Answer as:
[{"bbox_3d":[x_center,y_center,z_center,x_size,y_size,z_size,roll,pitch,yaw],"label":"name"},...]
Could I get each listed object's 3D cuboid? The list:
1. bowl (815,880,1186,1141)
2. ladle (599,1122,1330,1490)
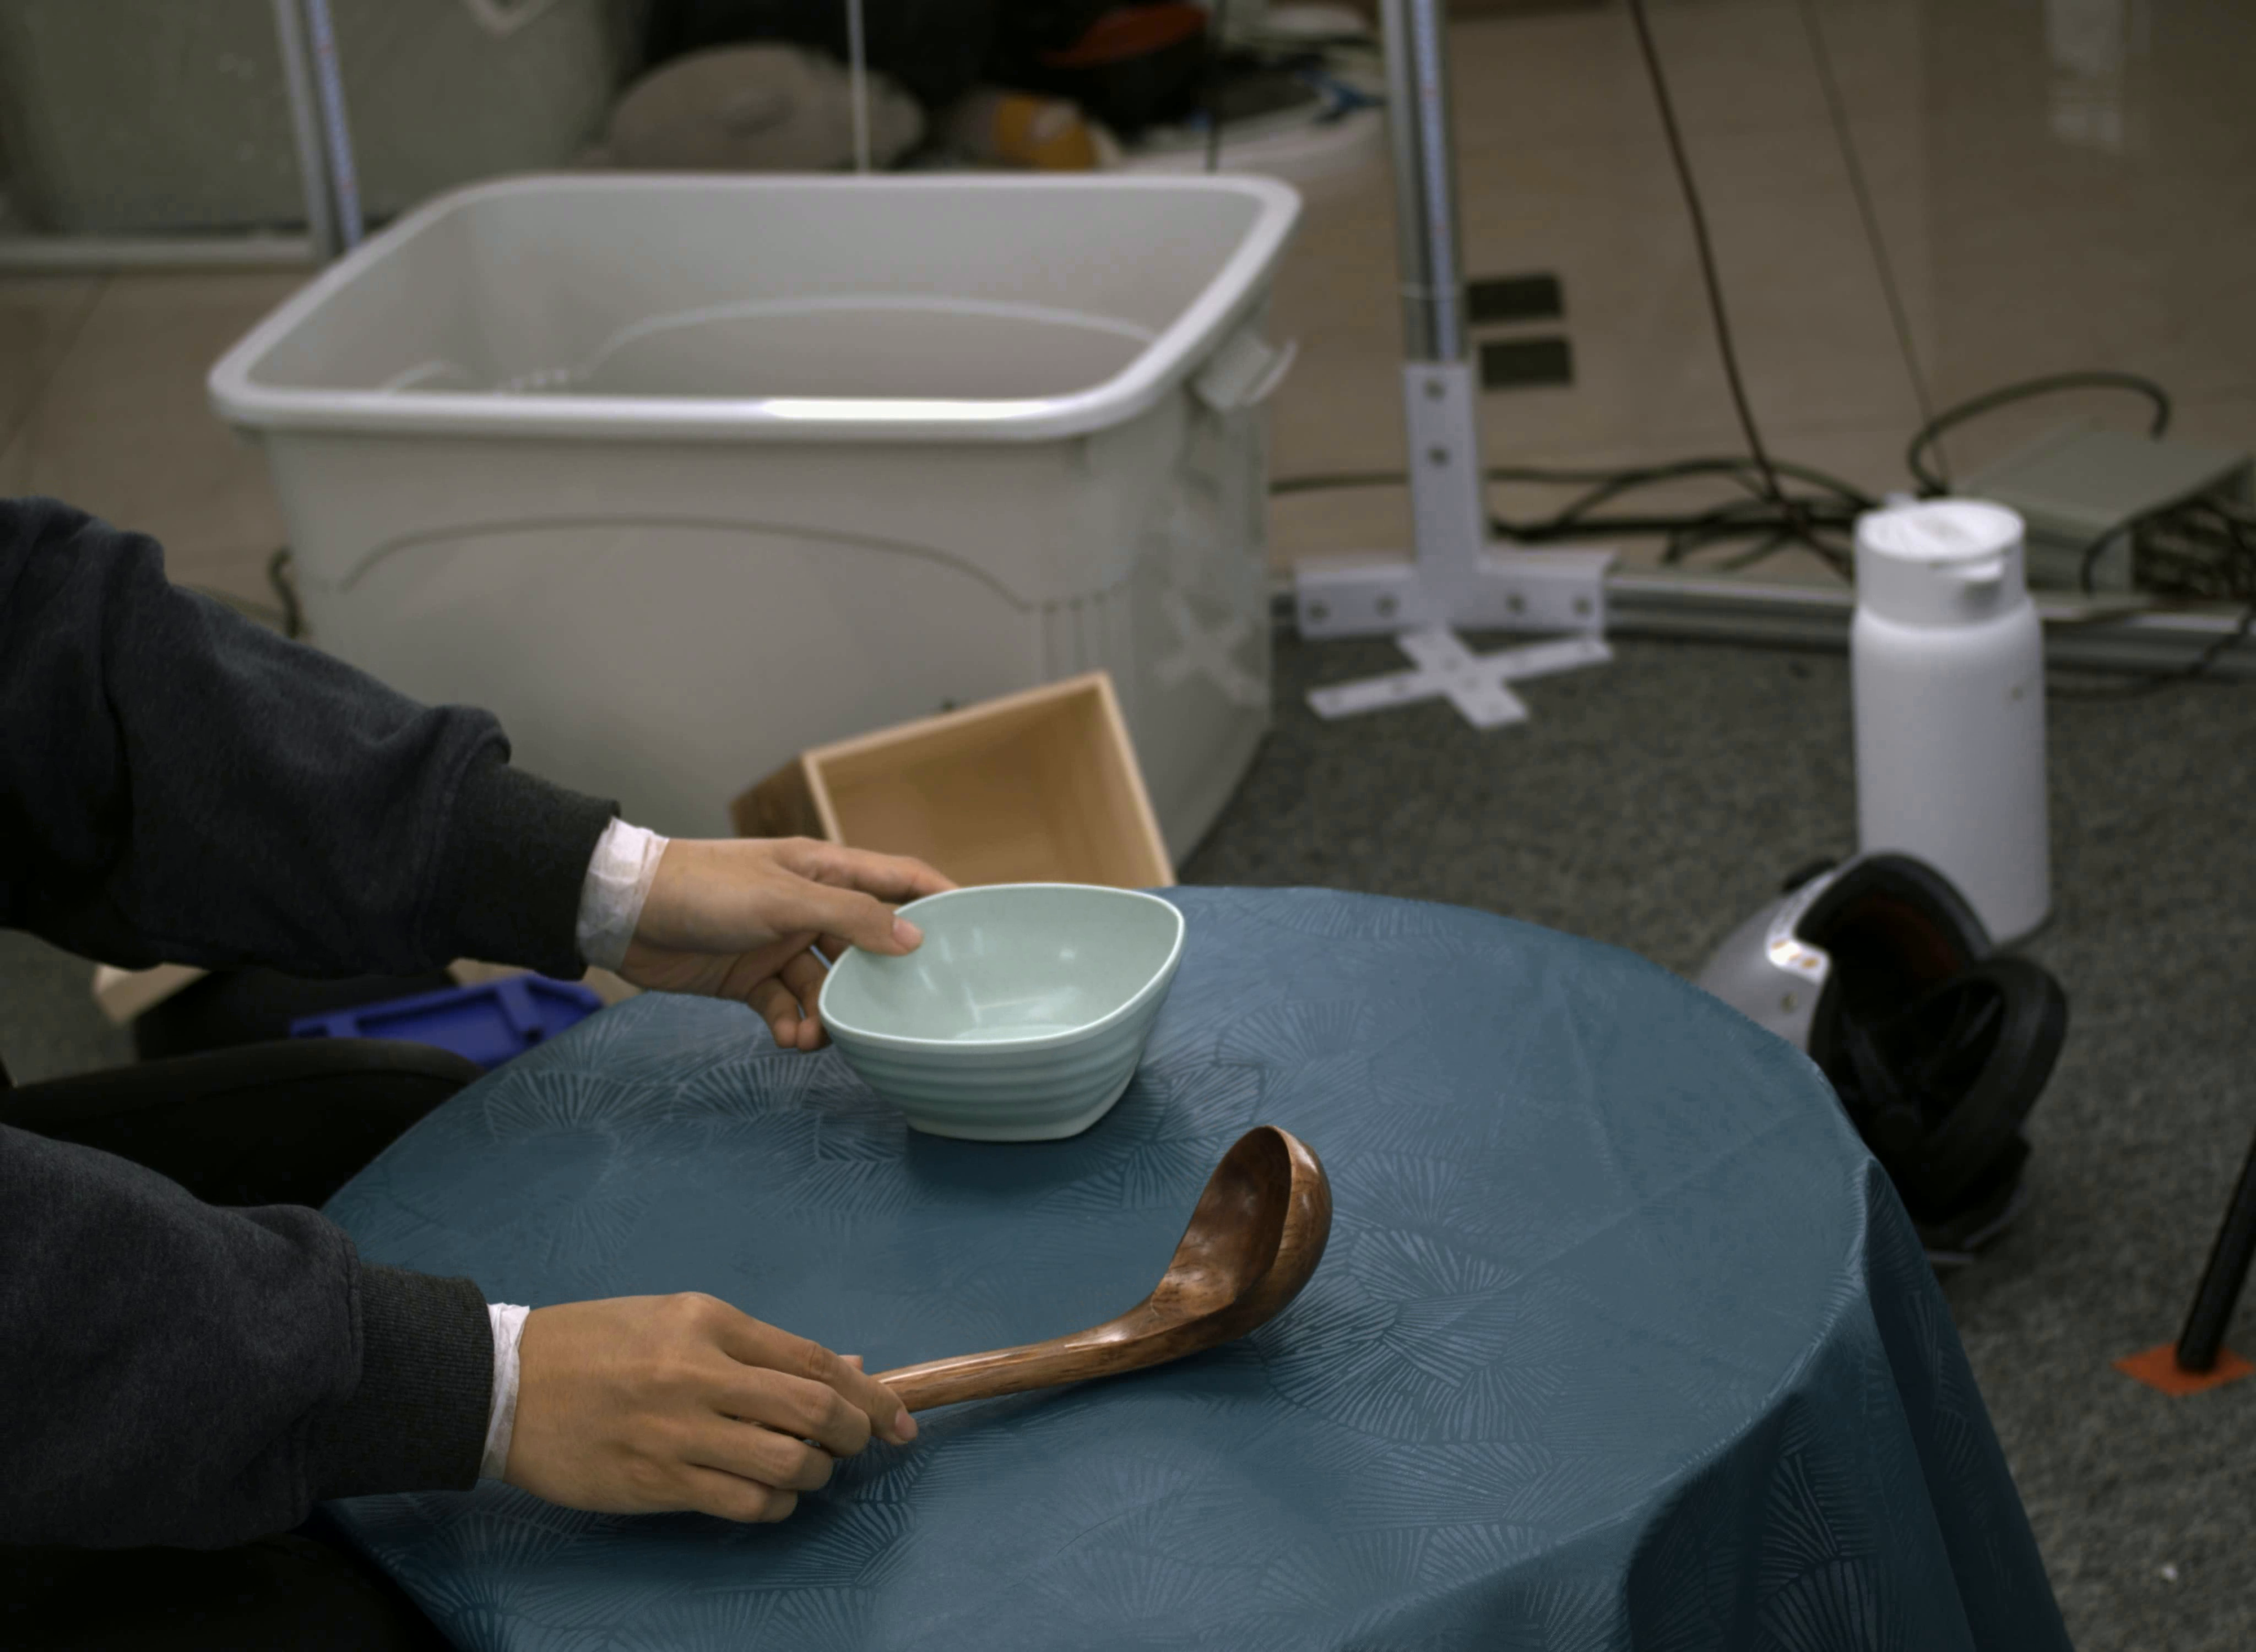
[{"bbox_3d":[-0.047,0.078,2.217,0.151,0.059,0.149,-5,26,2],"label":"bowl"},{"bbox_3d":[-0.058,0.167,2.000,0.273,0.077,0.081,-12,11,-14],"label":"ladle"}]
